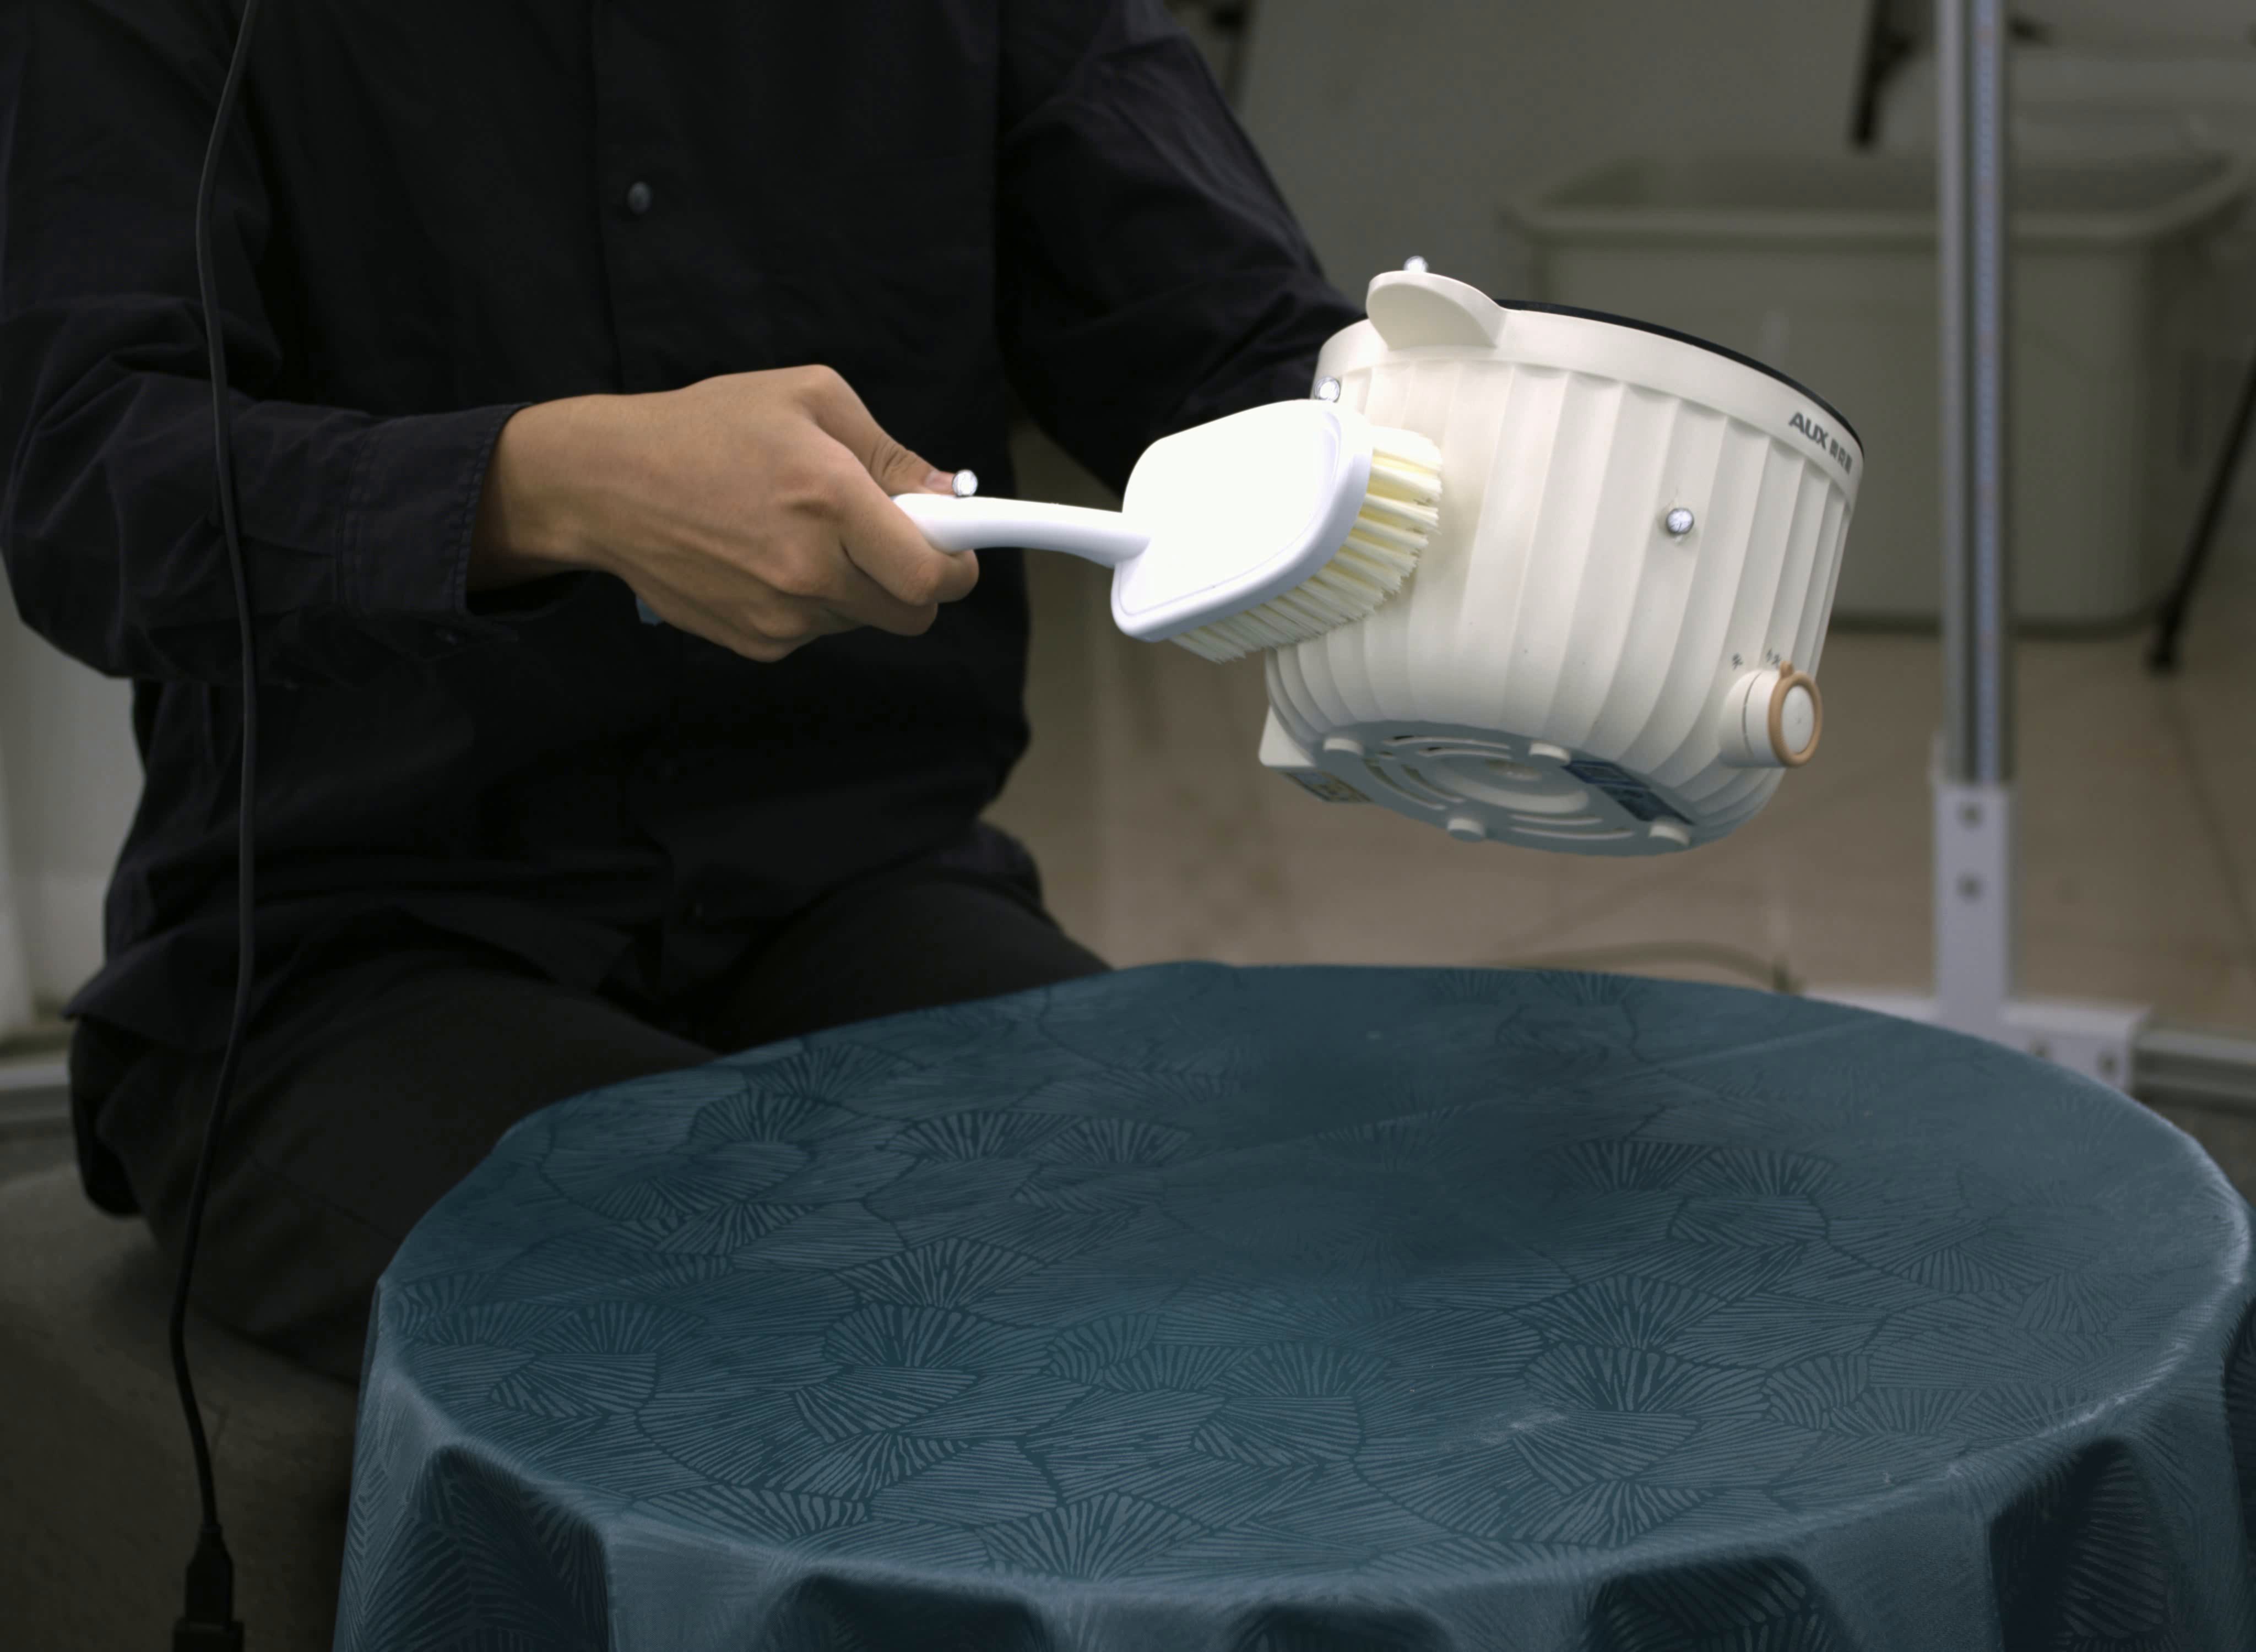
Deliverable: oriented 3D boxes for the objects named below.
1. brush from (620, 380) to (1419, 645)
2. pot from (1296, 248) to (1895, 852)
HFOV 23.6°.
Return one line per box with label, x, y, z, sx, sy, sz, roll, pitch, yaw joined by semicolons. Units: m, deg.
brush;-0.030;-0.093;1.748;0.328;0.084;0.082;-9;30;41
pot;0.153;-0.076;1.738;0.191;0.144;0.236;-1;-20;36
